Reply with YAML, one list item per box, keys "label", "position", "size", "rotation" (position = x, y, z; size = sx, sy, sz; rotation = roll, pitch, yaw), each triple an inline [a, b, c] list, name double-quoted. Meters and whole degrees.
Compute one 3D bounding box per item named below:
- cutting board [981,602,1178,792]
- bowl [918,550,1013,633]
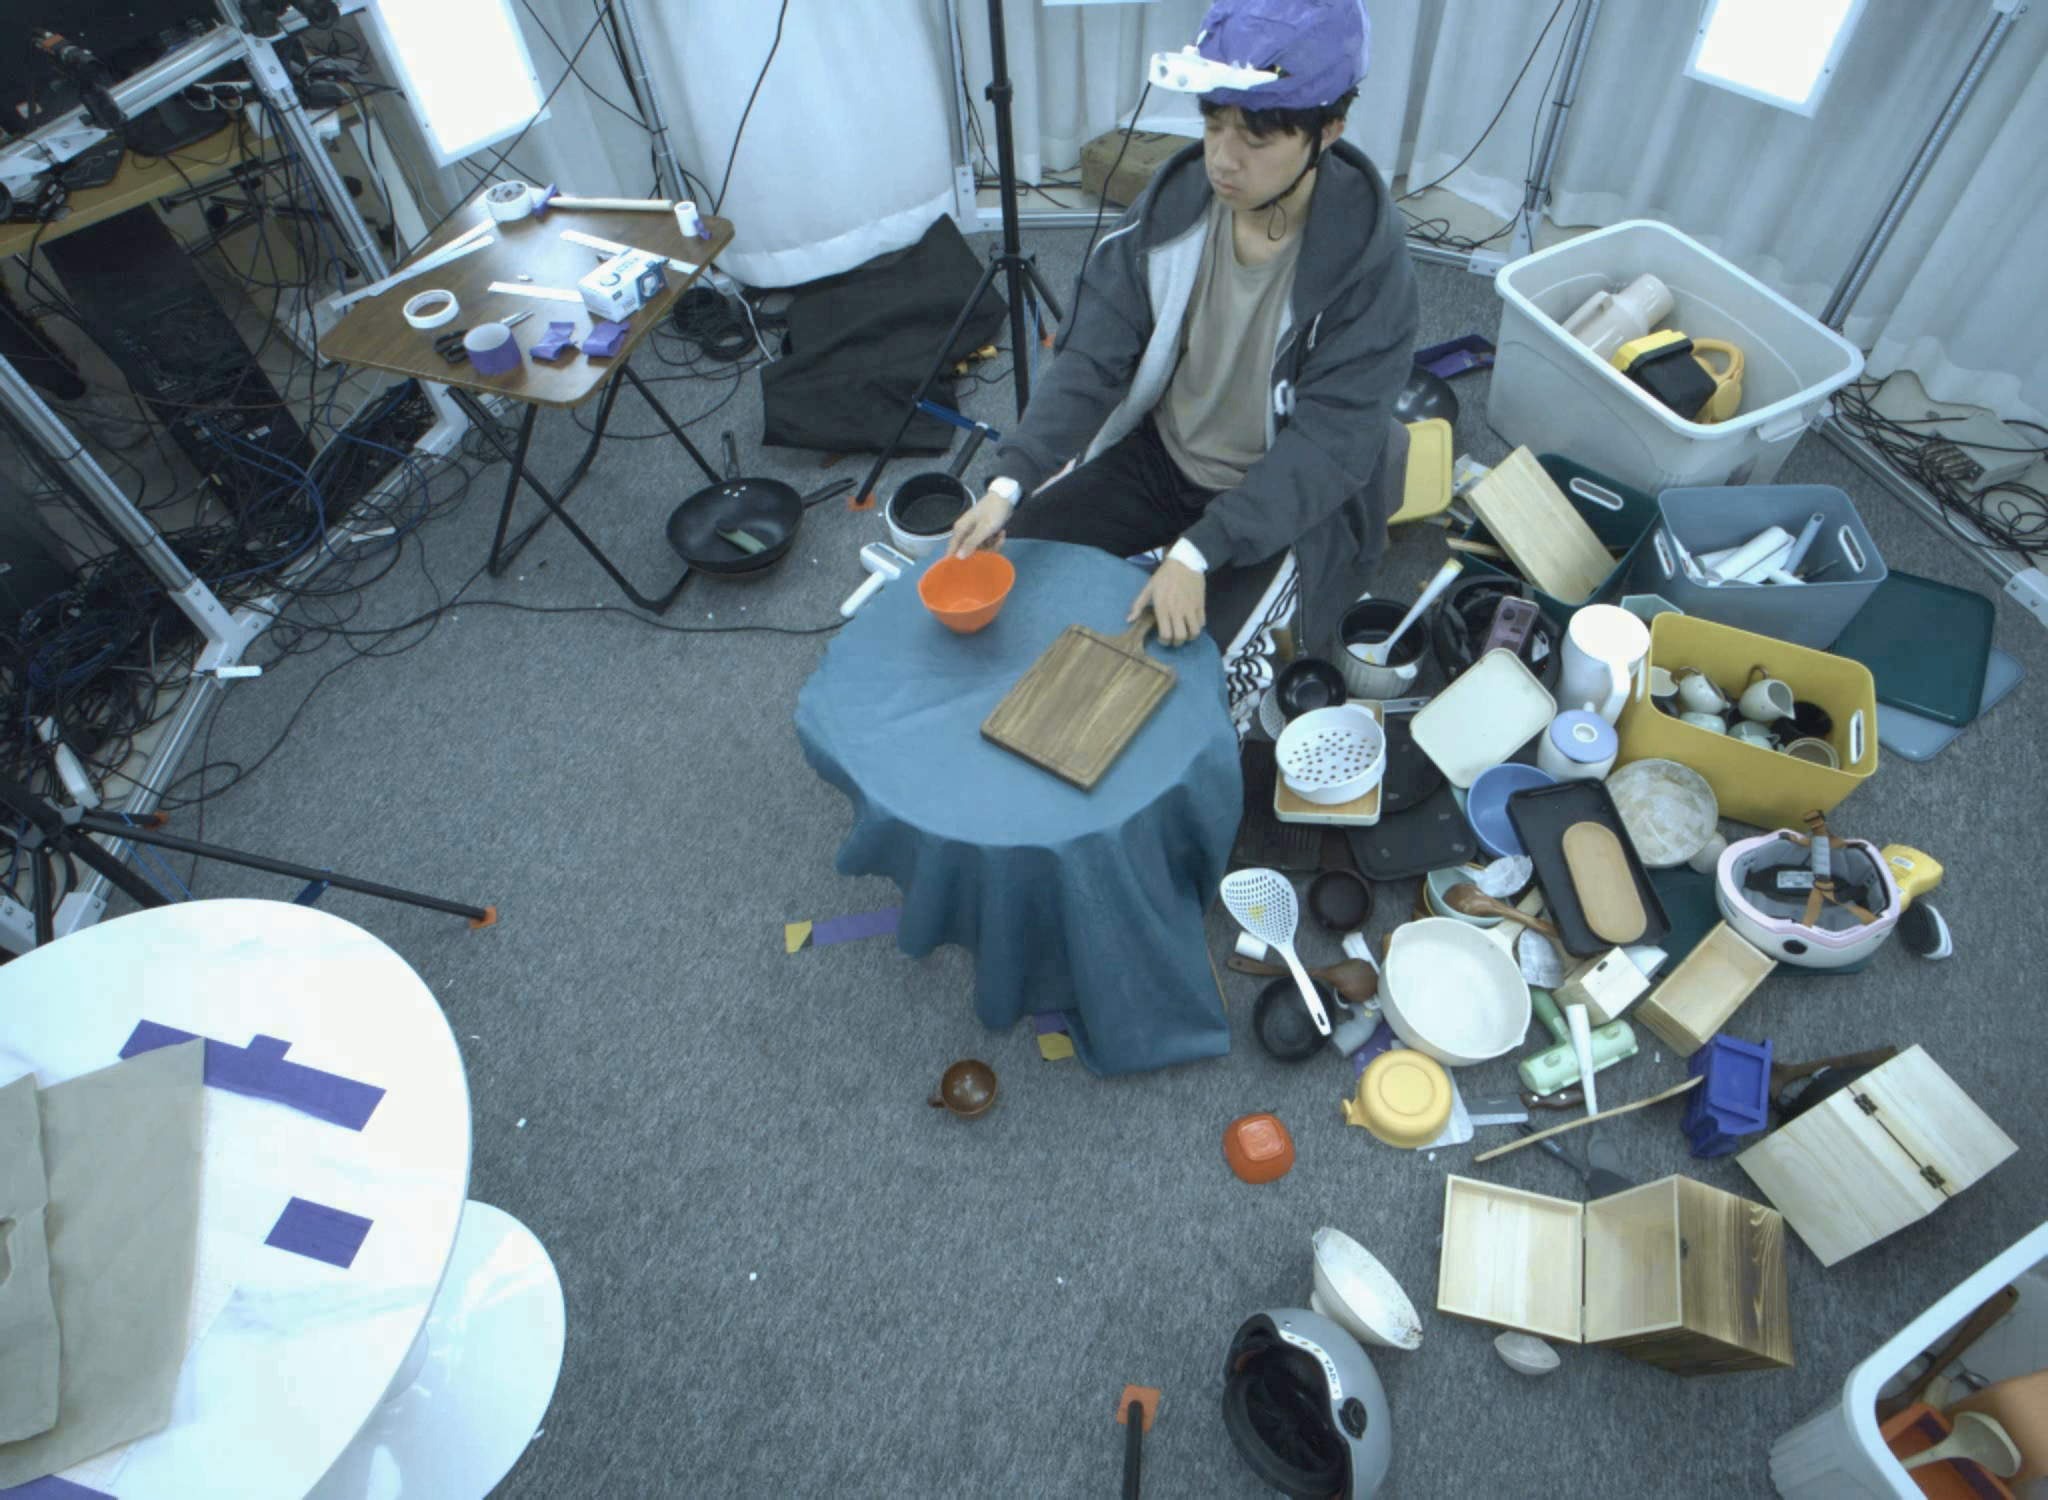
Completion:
- label: "cutting board"
  position: [0.112, -0.103, 1.847]
  size: [0.198, 0.023, 0.353]
  rotation: [28, 60, 20]
- label: "bowl"
  position: [-0.087, -0.233, 1.895]
  size: [0.148, 0.106, 0.146]
  rotation: [-1, 55, 3]
